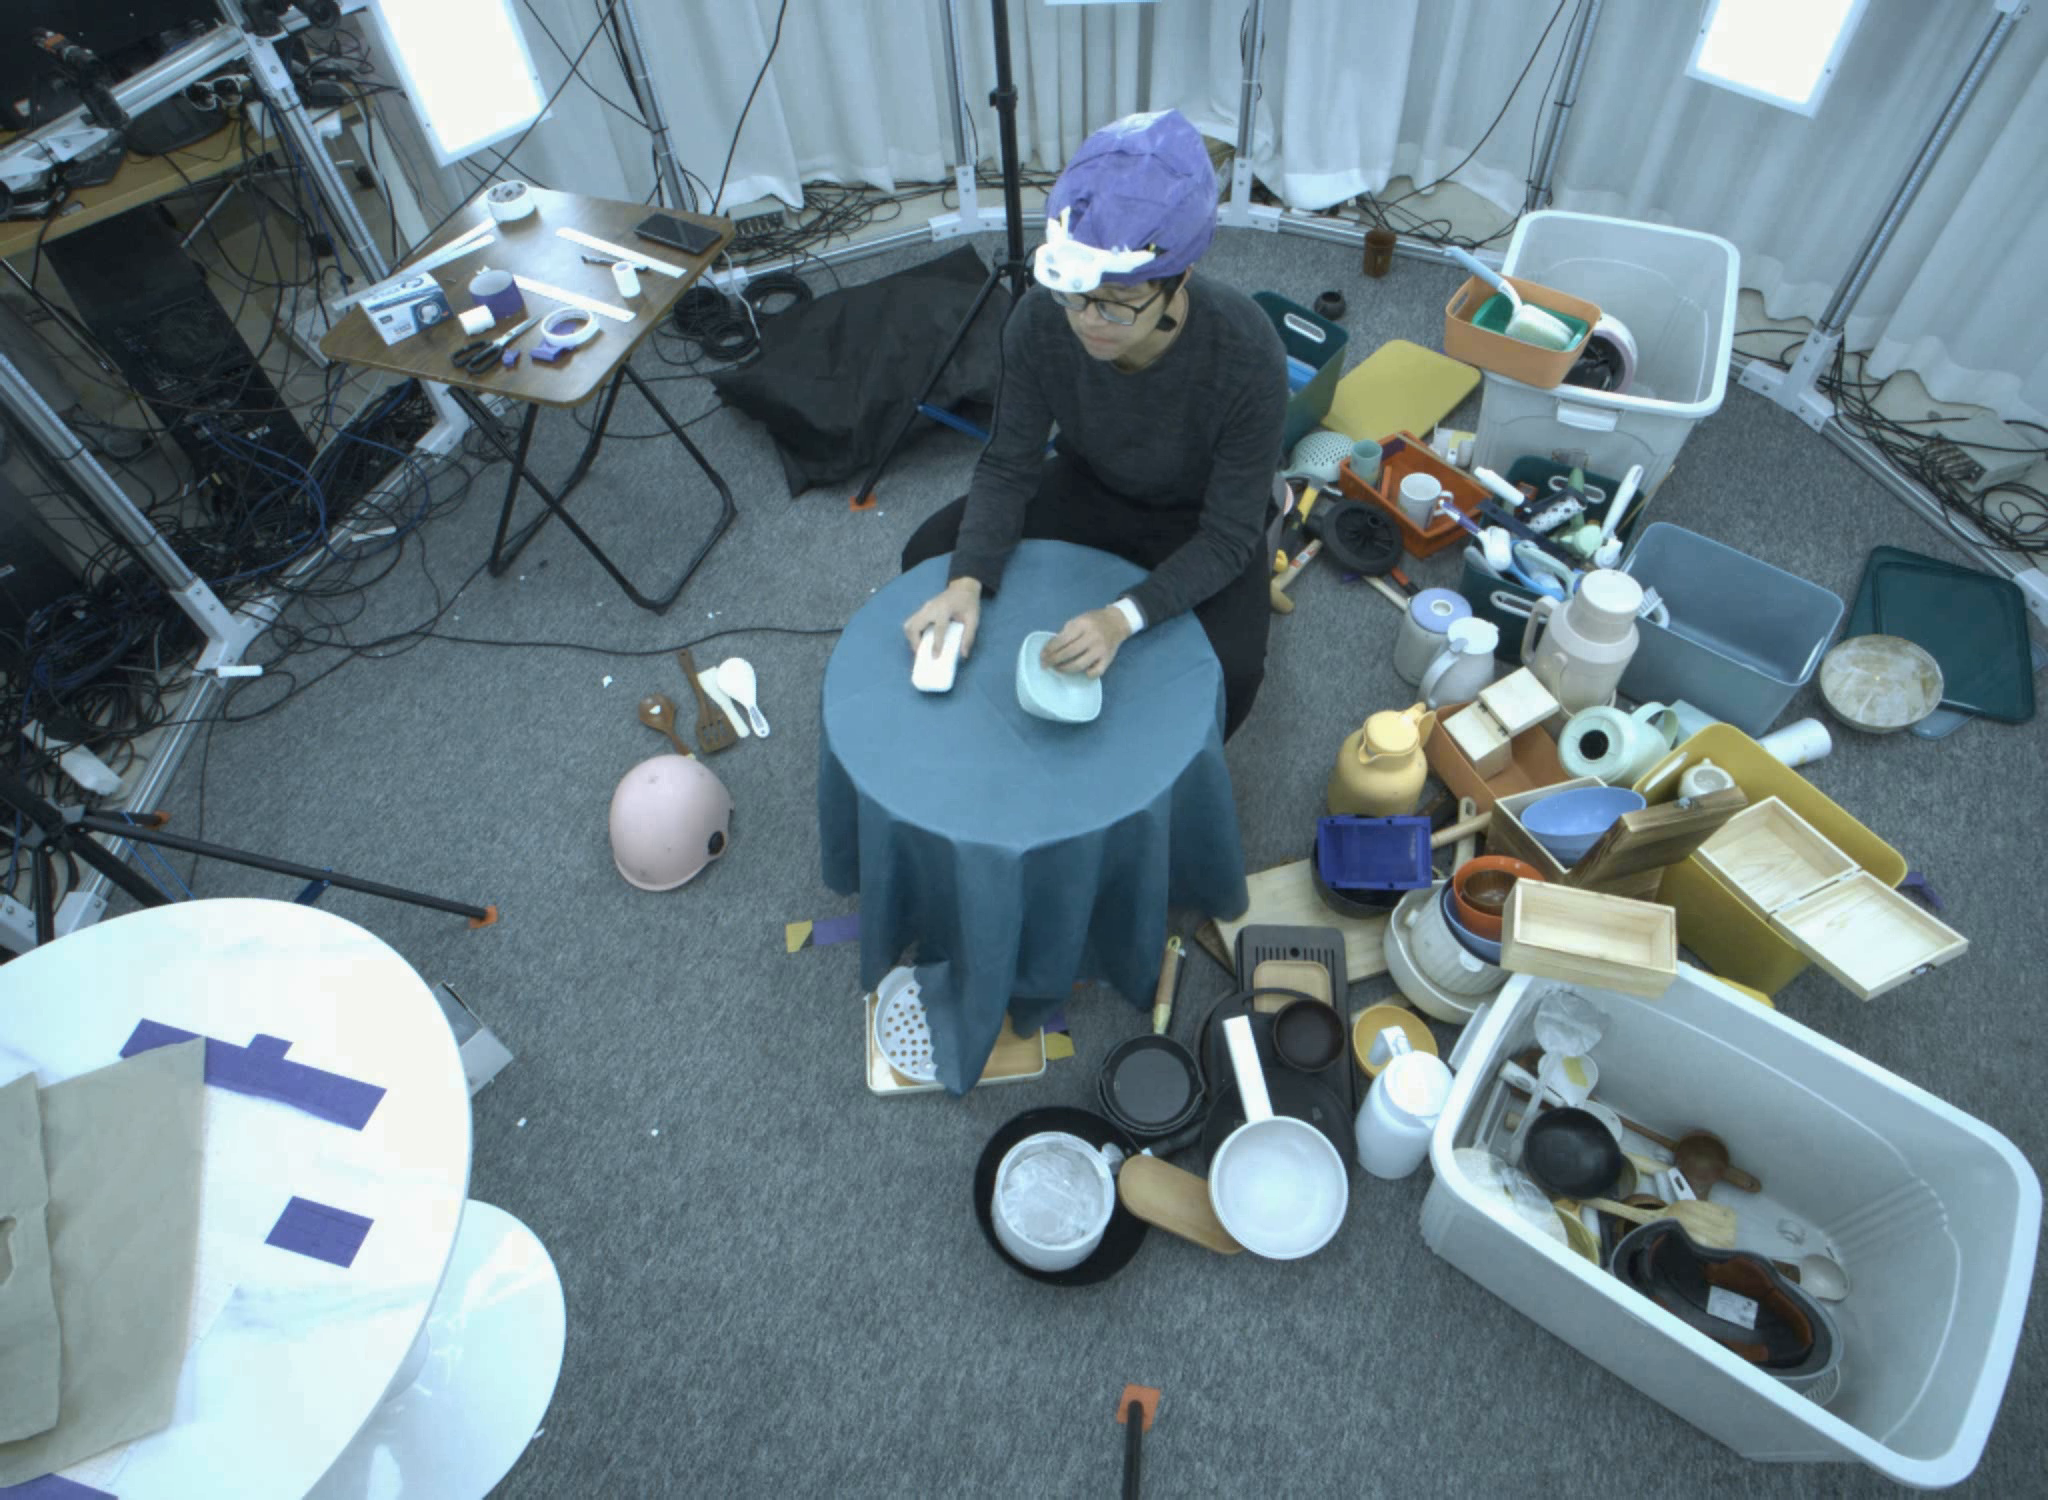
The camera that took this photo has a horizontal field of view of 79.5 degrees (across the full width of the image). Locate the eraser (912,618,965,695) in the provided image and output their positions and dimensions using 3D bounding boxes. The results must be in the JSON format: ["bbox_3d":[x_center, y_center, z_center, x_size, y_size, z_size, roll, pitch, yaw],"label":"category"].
[{"bbox_3d":[-0.128,-0.145,1.868,0.063,0.035,0.130,4,59,12],"label":"eraser"}]

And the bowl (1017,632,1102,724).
[{"bbox_3d":[0.041,-0.095,1.792,0.155,0.058,0.150,18,58,-31],"label":"bowl"}]
